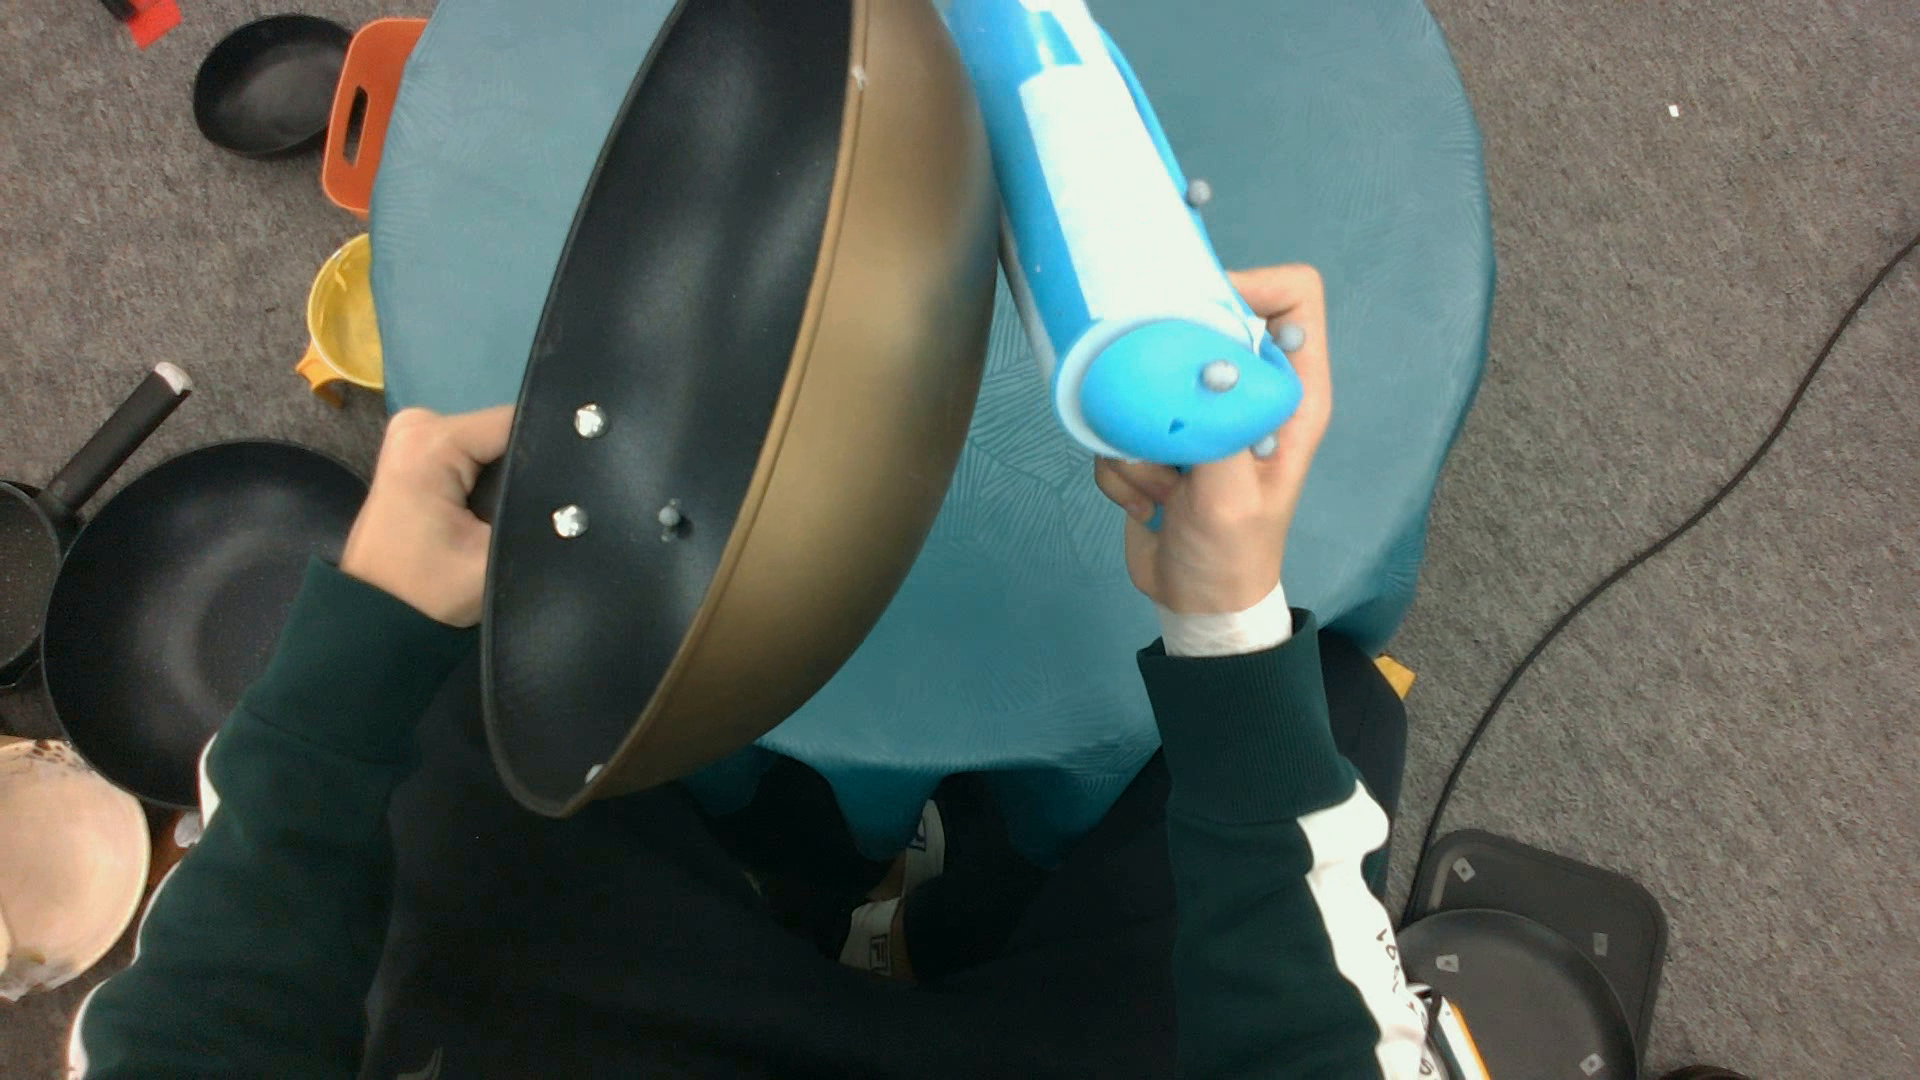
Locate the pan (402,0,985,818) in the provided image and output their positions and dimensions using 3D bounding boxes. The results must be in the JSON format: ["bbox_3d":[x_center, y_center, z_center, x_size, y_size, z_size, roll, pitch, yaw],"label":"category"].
[{"bbox_3d":[-0.120,-0.031,0.508,0.087,0.461,0.289,15,68,-30],"label":"pan"}]

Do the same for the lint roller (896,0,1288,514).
[{"bbox_3d":[0.052,-0.078,0.456,0.068,0.180,0.229,-30,48,10],"label":"lint roller"}]
